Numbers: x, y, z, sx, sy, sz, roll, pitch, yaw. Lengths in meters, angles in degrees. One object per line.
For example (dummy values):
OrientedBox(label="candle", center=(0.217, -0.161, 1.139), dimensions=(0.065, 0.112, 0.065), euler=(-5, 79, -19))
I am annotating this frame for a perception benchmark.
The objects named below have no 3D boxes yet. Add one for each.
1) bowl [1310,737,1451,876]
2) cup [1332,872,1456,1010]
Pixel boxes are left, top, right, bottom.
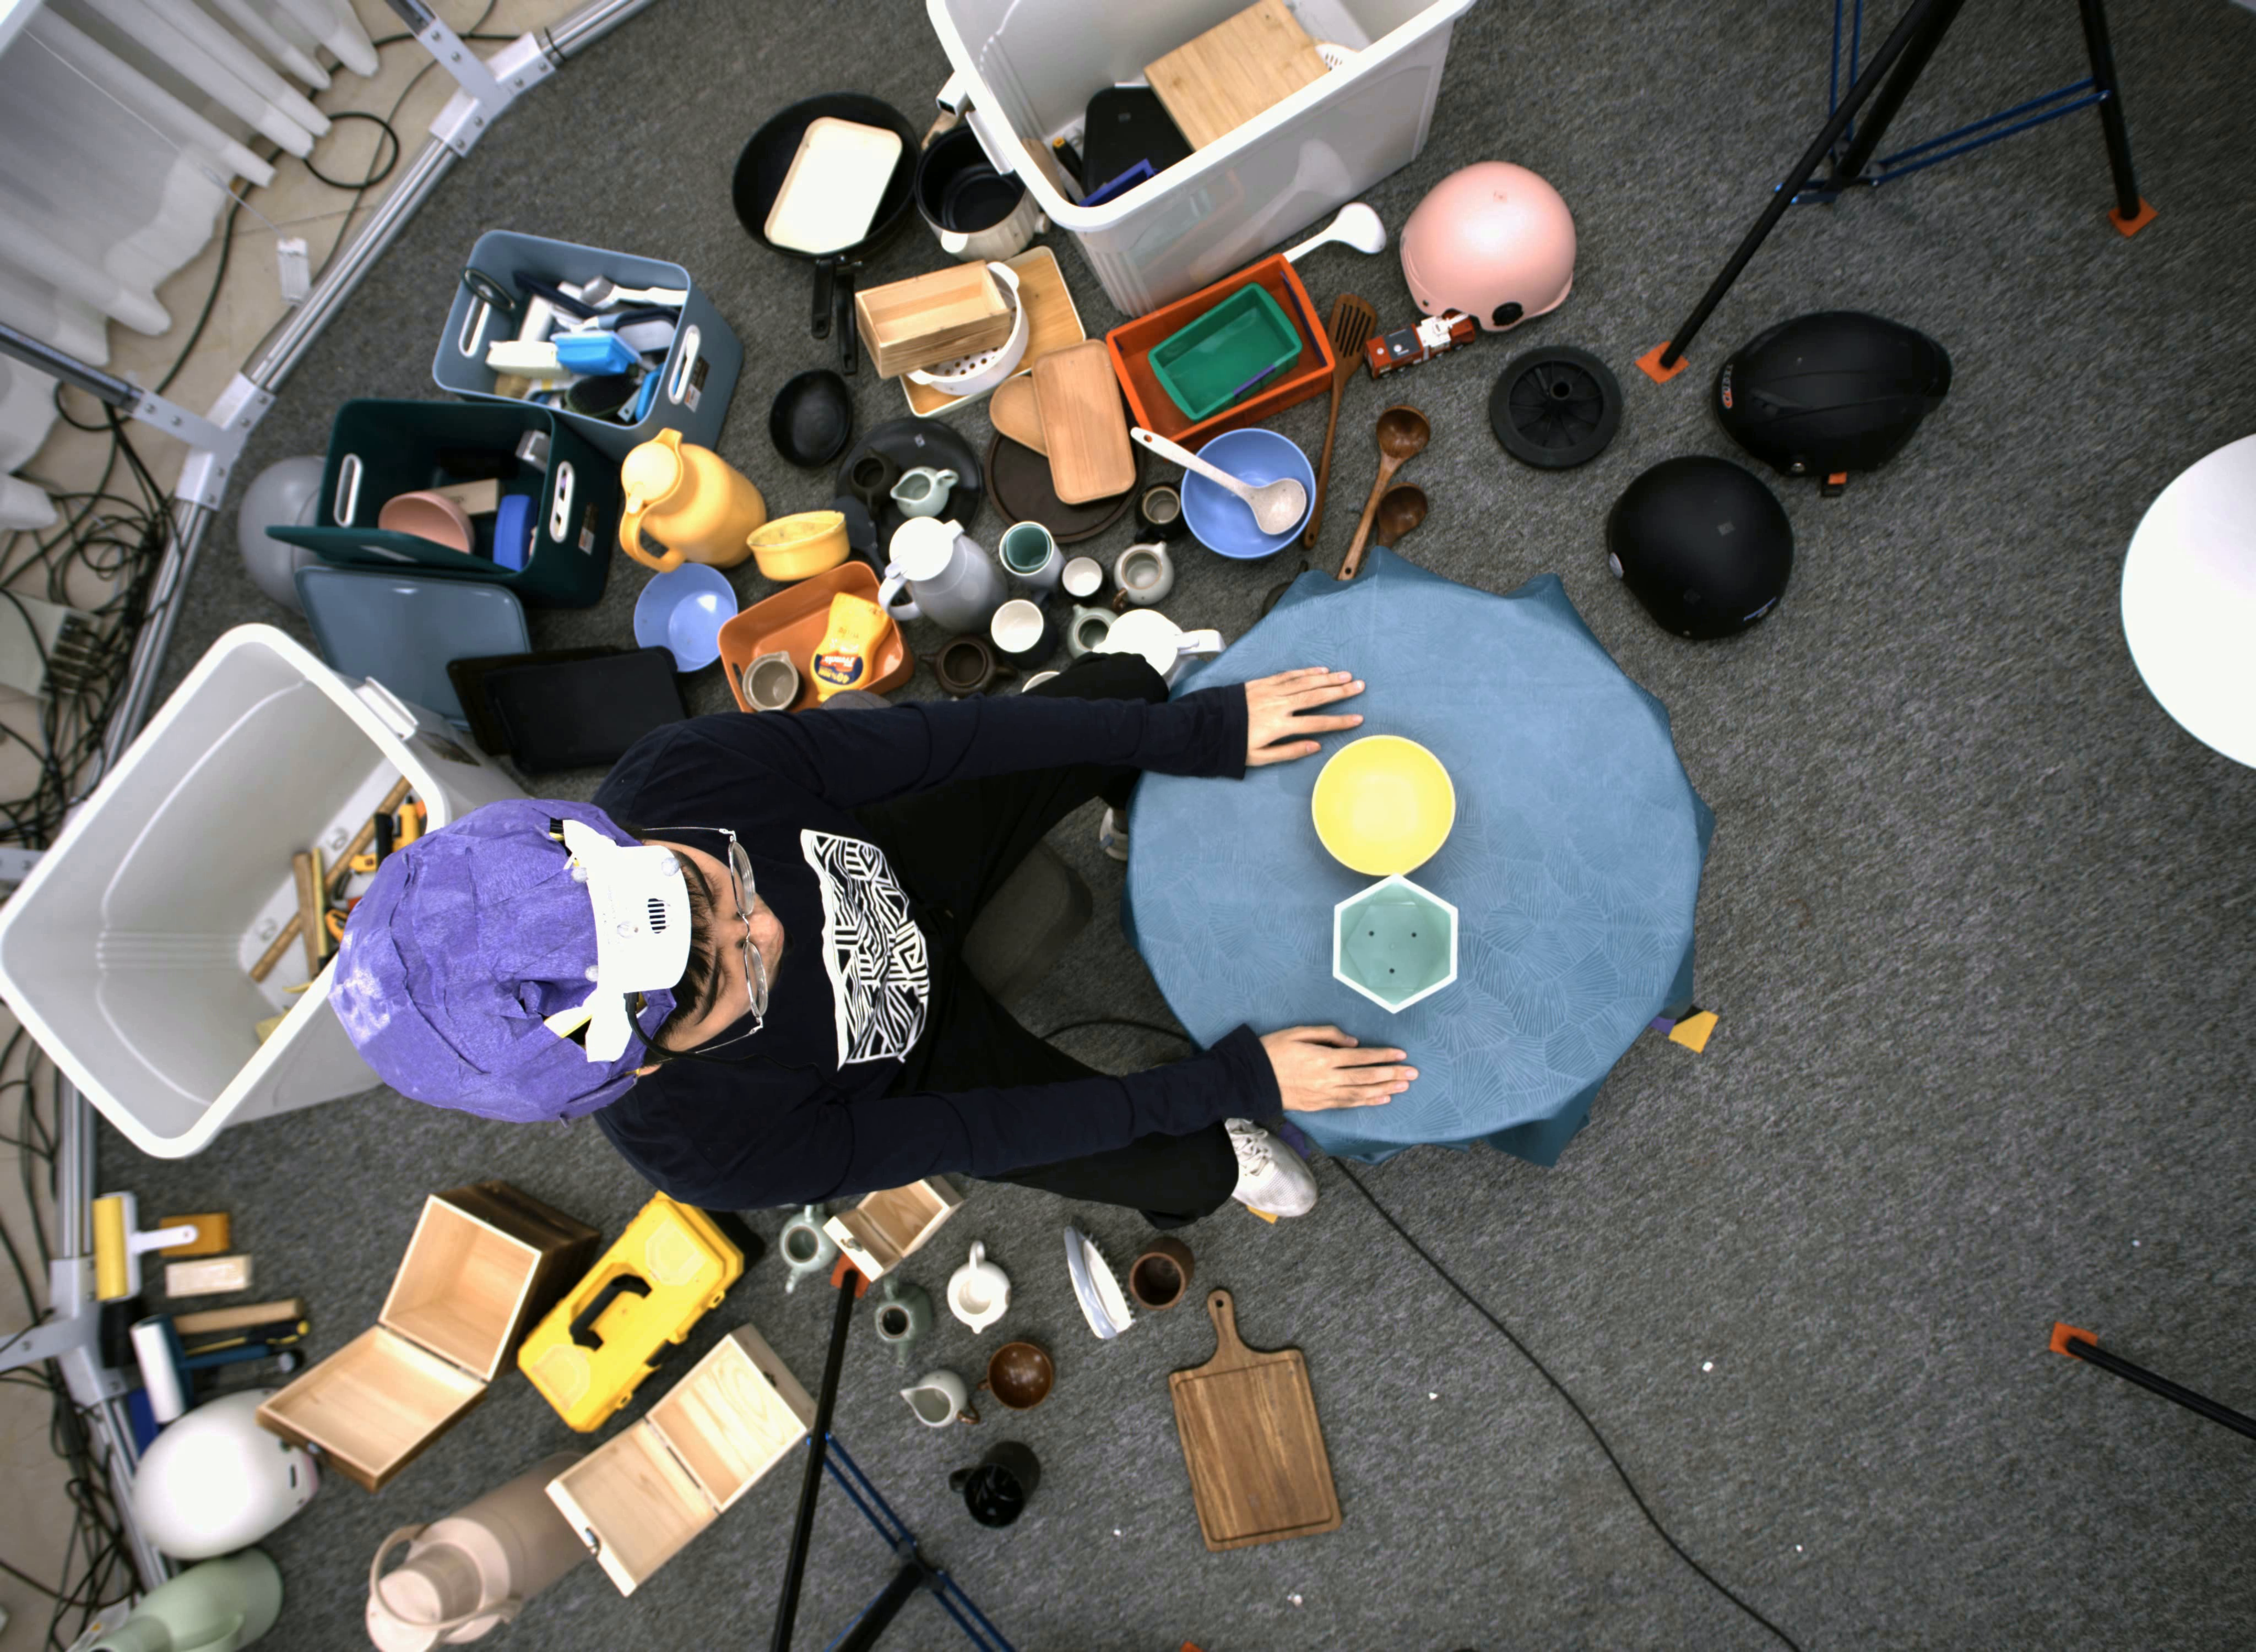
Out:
OrientedBox(label="bowl", center=(0.264, -0.018, 1.438), dimensions=(0.146, 0.060, 0.144), euler=(-1, 85, 12))
OrientedBox(label="cup", center=(0.265, 0.115, 1.374), dimensions=(0.115, 0.163, 0.130), euler=(-1, 85, 11))
